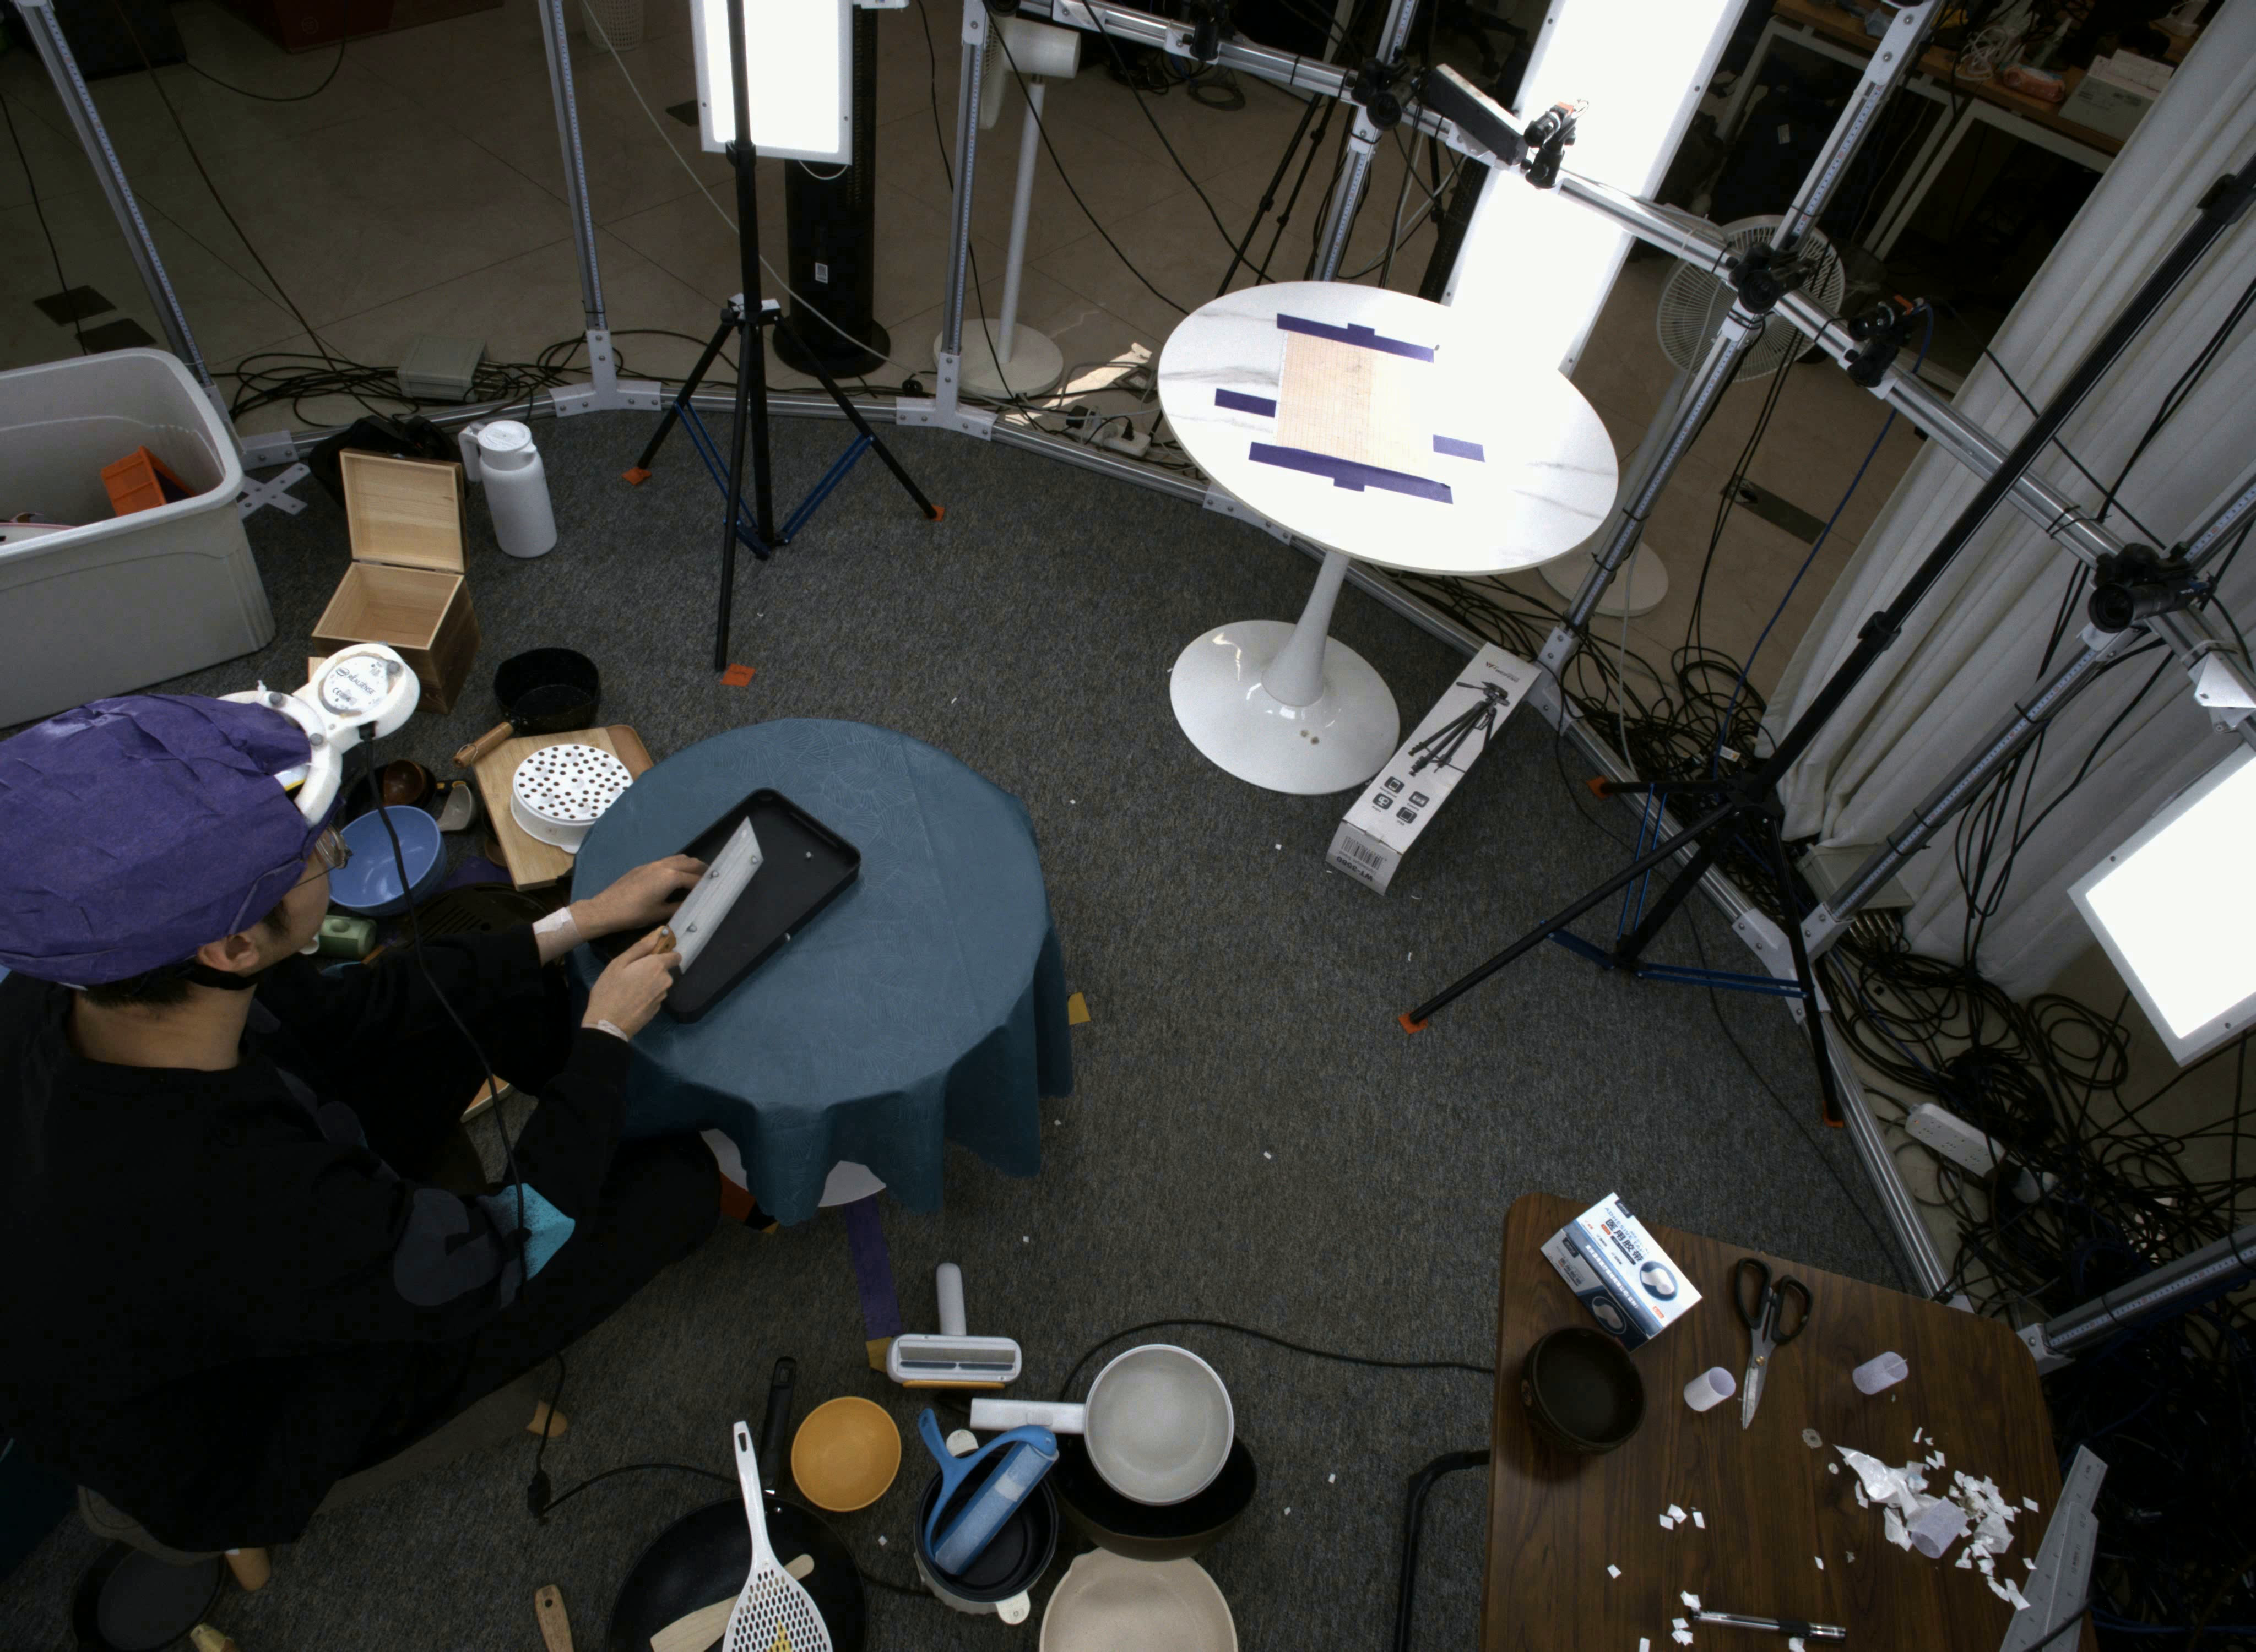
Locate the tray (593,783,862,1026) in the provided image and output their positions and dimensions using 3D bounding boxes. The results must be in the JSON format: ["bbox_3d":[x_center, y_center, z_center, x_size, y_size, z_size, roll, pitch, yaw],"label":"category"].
[{"bbox_3d":[-0.494,0.088,1.605,0.181,0.038,0.317,33,53,10],"label":"tray"}]

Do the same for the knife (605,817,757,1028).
[{"bbox_3d":[-0.522,0.122,1.527,0.020,0.096,0.303,15,52,14],"label":"knife"}]
